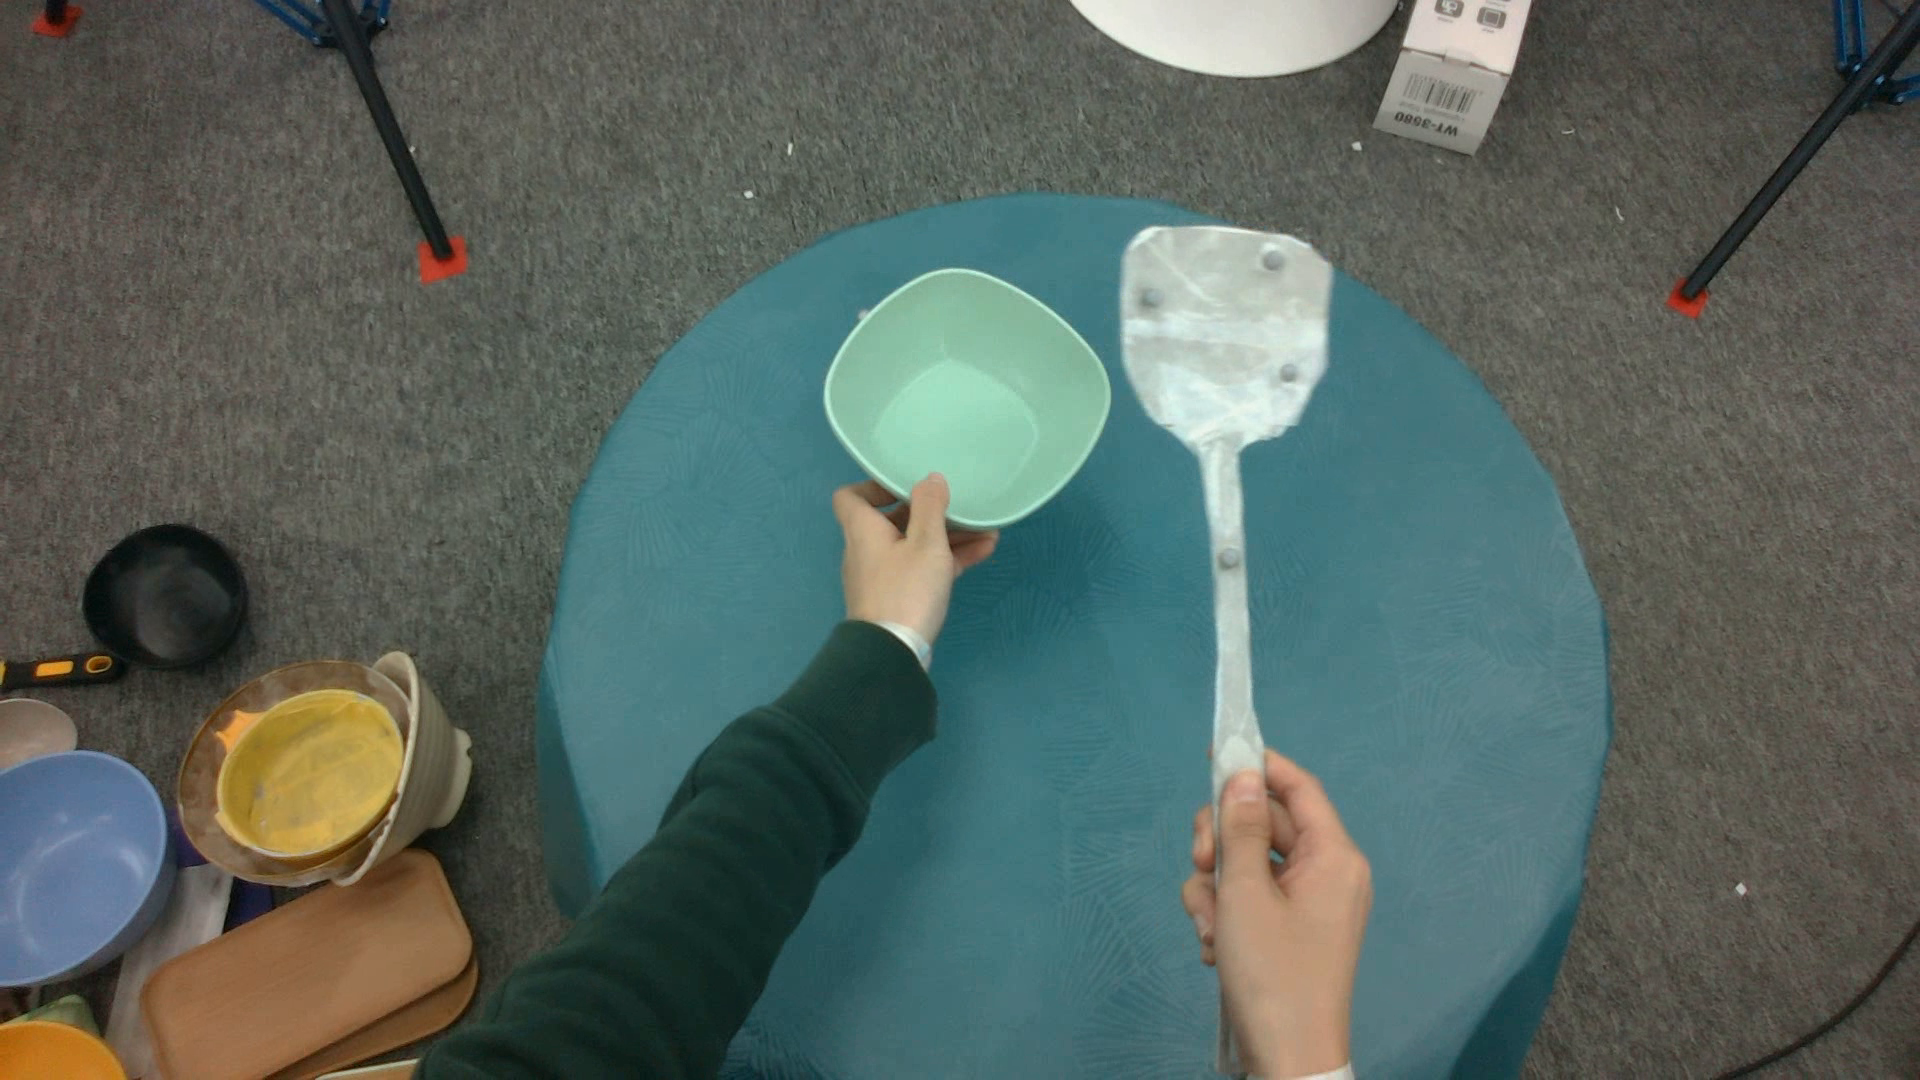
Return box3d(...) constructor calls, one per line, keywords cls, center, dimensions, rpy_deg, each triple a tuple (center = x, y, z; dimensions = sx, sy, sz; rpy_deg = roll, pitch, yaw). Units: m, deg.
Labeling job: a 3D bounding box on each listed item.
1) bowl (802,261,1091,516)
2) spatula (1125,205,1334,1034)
box3d(cls="bowl", center=(-0.009, -0.071, 0.734), dimensions=(0.151, 0.058, 0.152), rpy_deg=(4, 62, -8))
box3d(cls="spatula", center=(0.112, 0.021, 0.594), dimensions=(0.099, 0.044, 0.366), rpy_deg=(7, 67, -6))
